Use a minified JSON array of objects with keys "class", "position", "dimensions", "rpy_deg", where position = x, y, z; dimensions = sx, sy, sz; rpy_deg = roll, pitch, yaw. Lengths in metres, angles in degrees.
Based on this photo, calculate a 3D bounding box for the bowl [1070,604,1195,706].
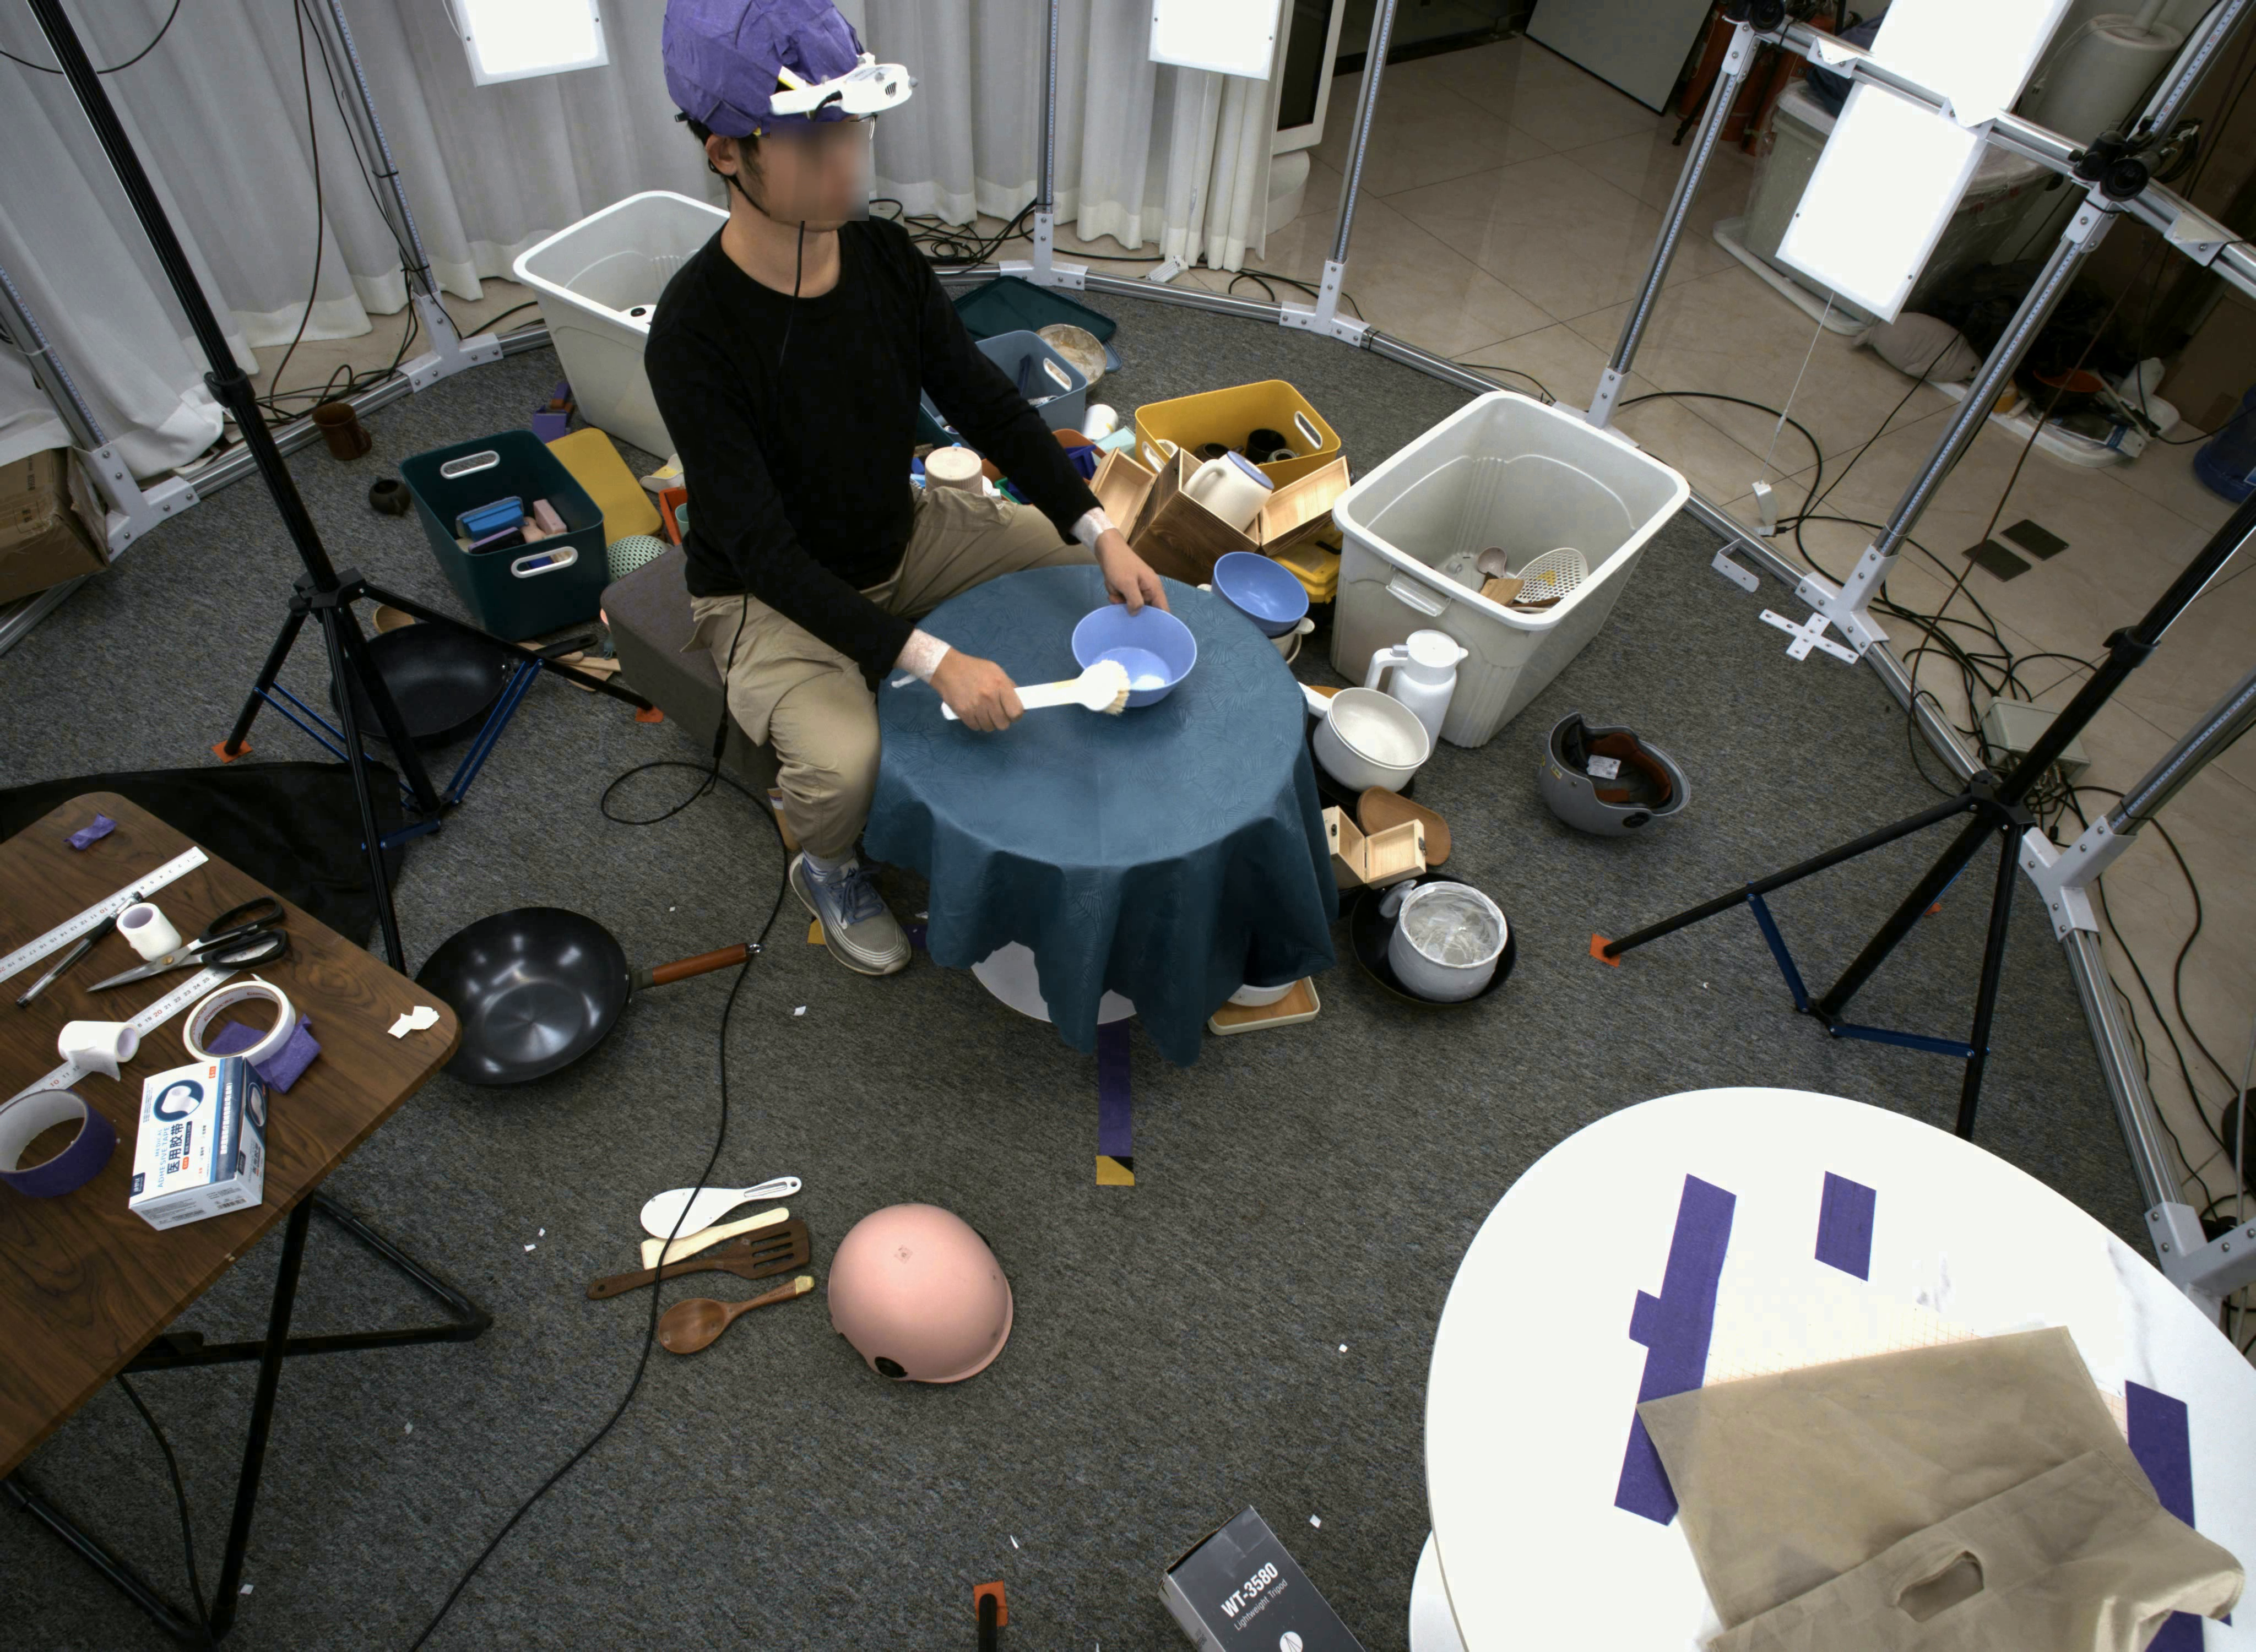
[{"class":"bowl","position":[0.003,-0.235,1.825],"dimensions":[0.176,0.068,0.180],"rpy_deg":[4,49,-5]}]

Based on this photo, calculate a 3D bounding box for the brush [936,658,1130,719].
[{"class":"brush","position":[-0.125,-0.176,1.717],"dimensions":[0.266,0.056,0.069],"rpy_deg":[-9,81,18]}]
